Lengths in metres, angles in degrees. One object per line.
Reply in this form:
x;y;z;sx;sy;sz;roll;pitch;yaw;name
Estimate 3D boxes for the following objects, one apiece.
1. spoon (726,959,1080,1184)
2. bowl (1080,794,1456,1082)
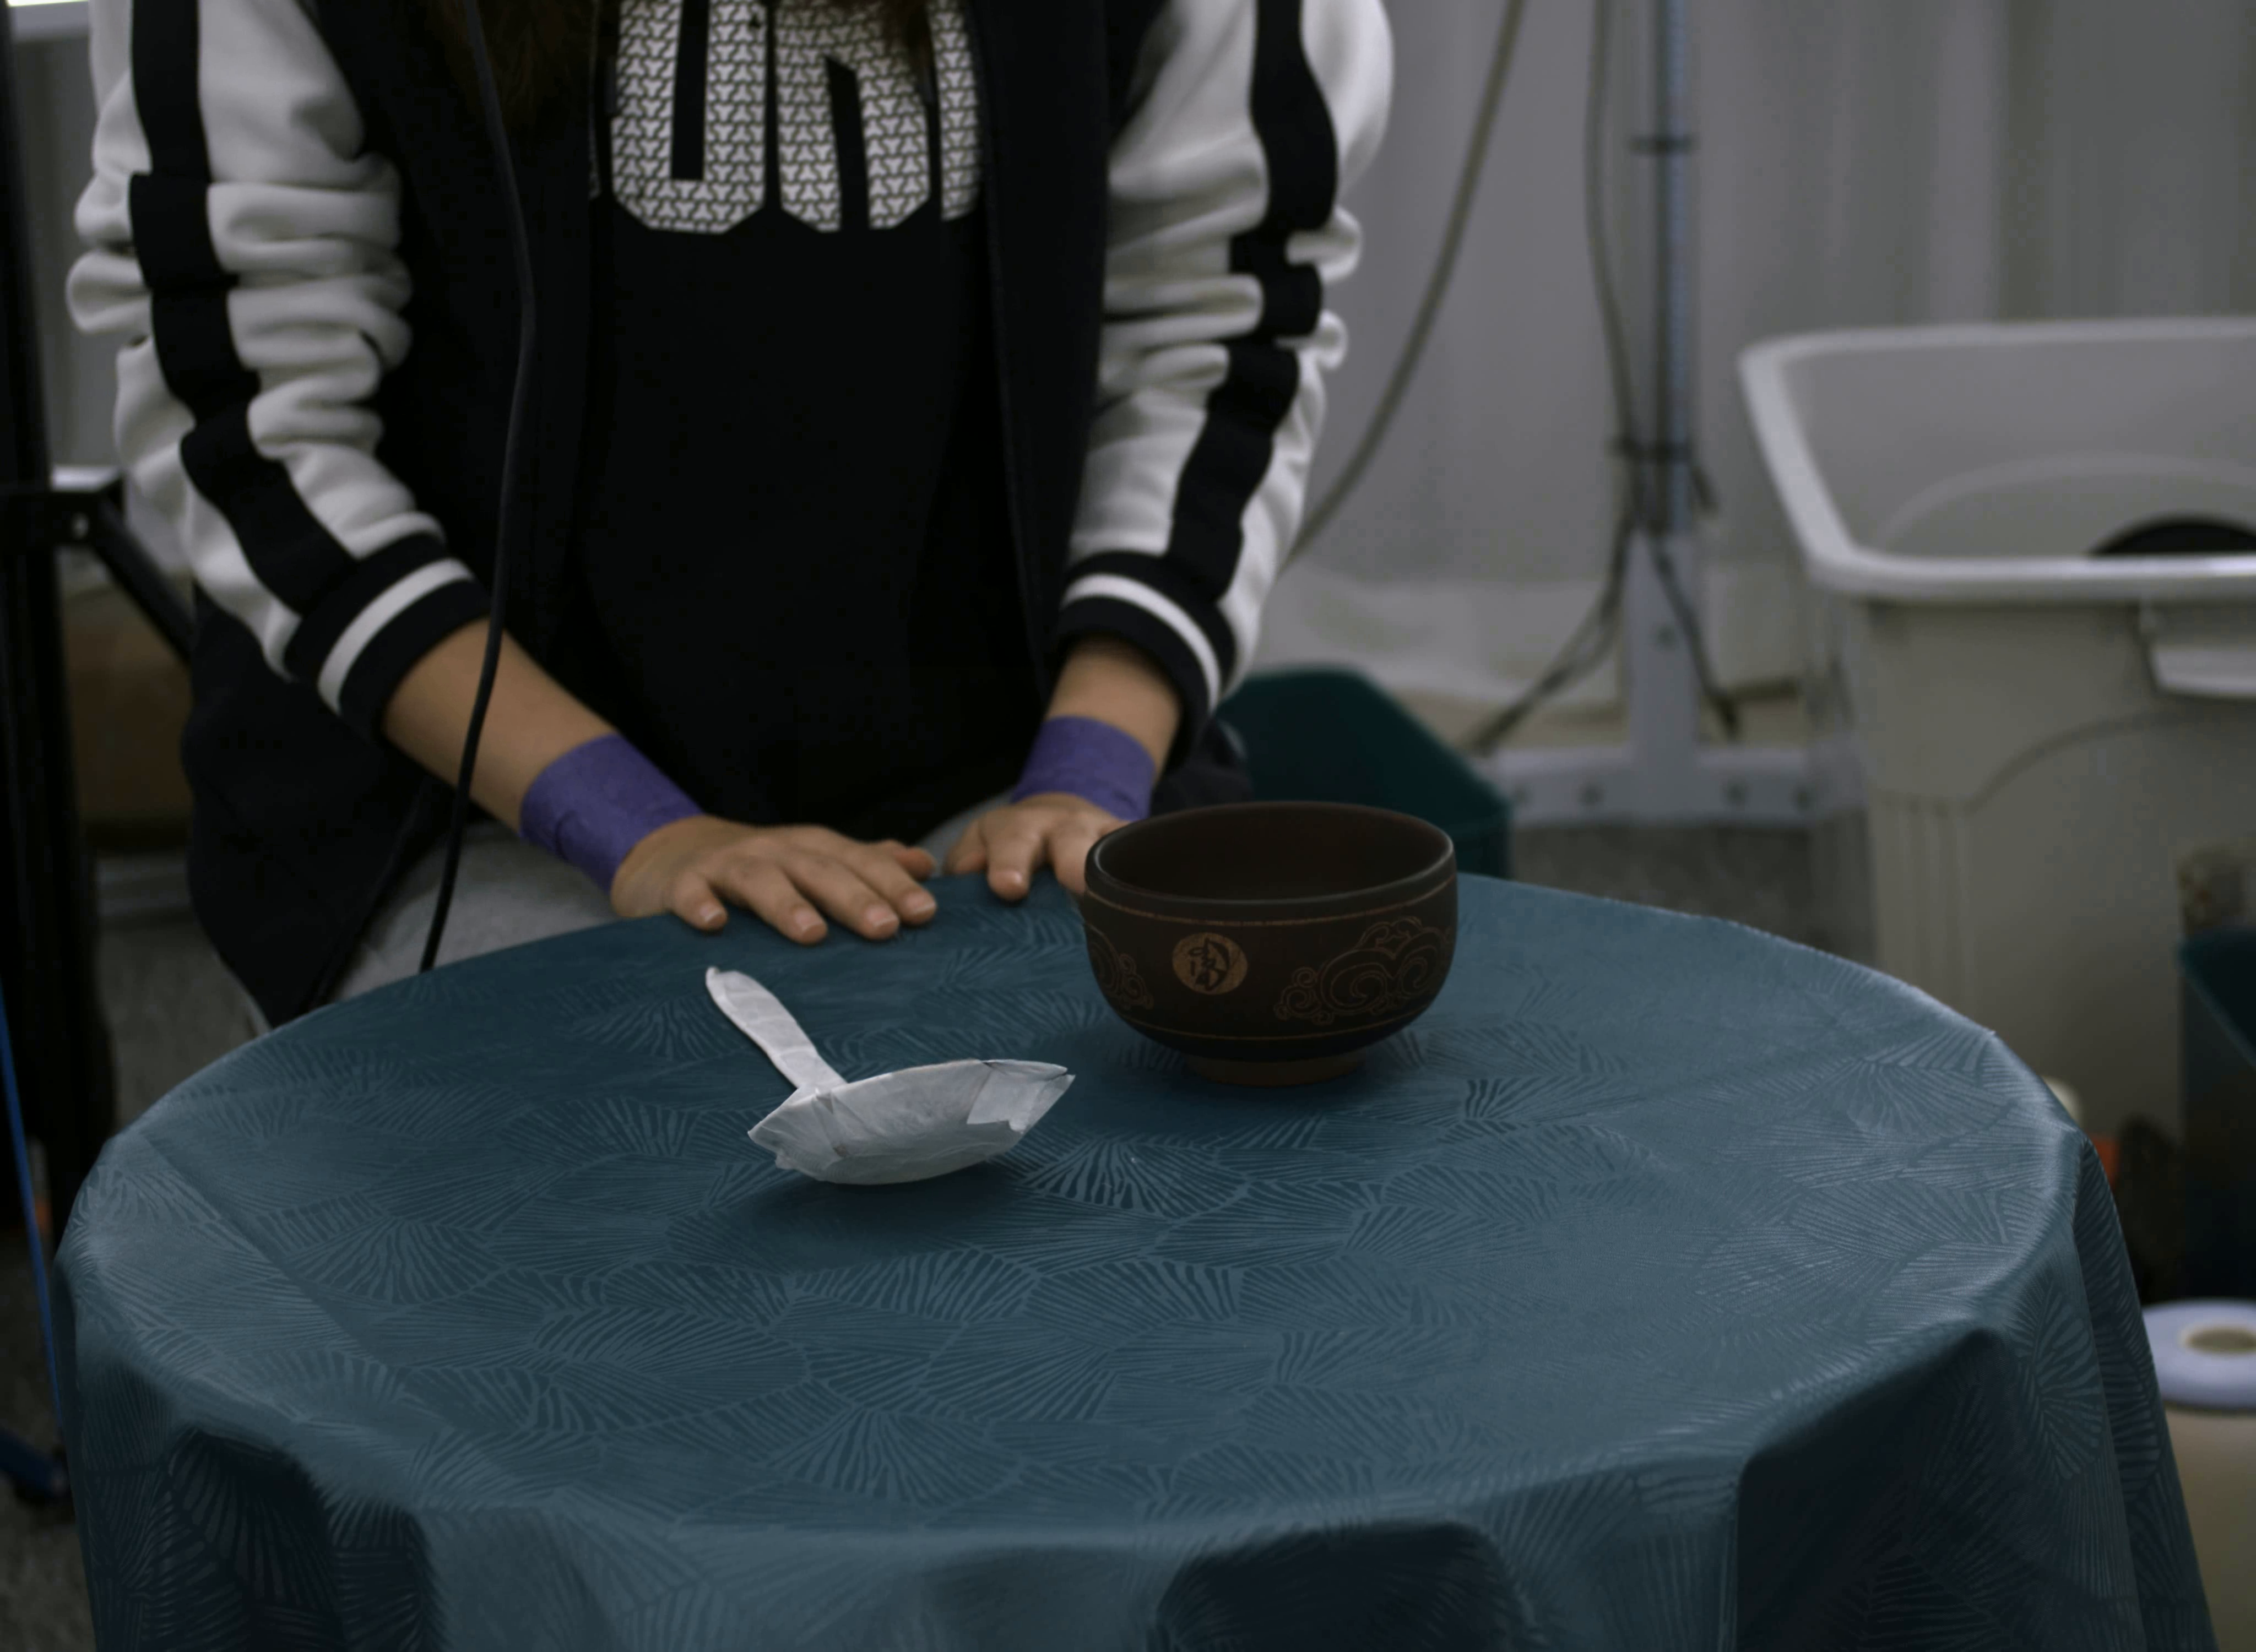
-0.086;0.057;1.647;0.099;0.059;0.281;-3;15;-15;spoon
0.044;0.039;1.662;0.117;0.070;0.118;-2;16;-1;bowl
